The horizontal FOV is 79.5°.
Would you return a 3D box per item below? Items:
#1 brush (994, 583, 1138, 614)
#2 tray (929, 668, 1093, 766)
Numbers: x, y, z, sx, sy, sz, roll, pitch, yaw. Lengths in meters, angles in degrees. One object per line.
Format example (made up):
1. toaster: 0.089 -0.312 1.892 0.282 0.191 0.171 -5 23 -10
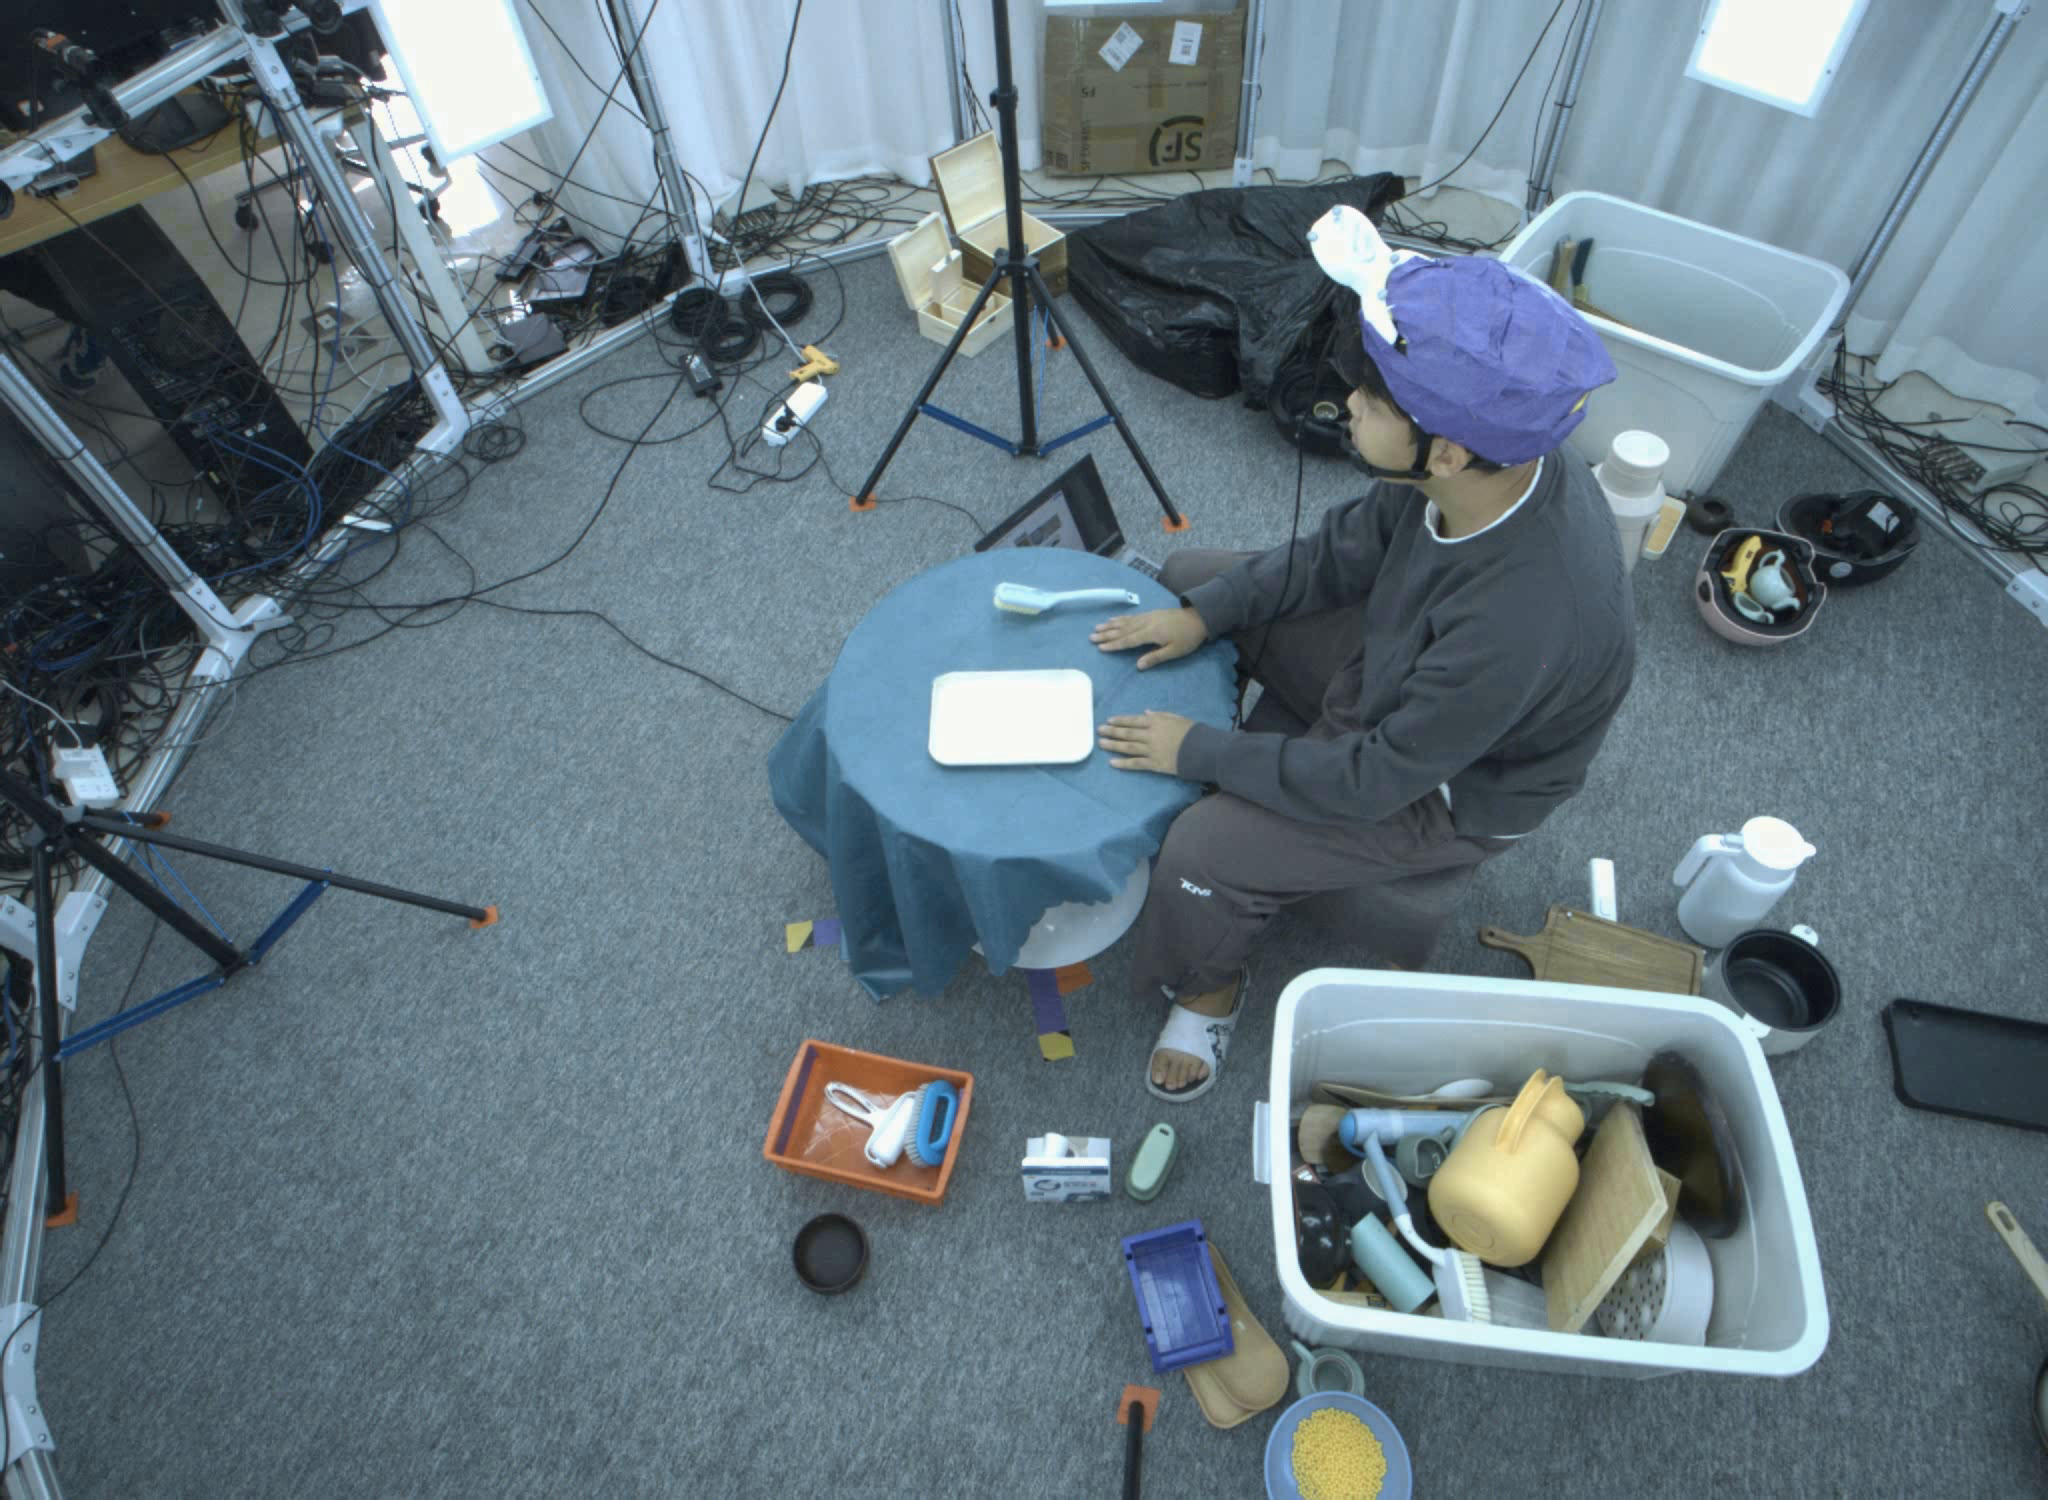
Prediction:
1. brush: 0.067 -0.238 1.935 0.230 0.050 0.037 -2 60 -10
2. tray: -0.019 -0.048 1.811 0.239 0.017 0.169 -1 55 1
